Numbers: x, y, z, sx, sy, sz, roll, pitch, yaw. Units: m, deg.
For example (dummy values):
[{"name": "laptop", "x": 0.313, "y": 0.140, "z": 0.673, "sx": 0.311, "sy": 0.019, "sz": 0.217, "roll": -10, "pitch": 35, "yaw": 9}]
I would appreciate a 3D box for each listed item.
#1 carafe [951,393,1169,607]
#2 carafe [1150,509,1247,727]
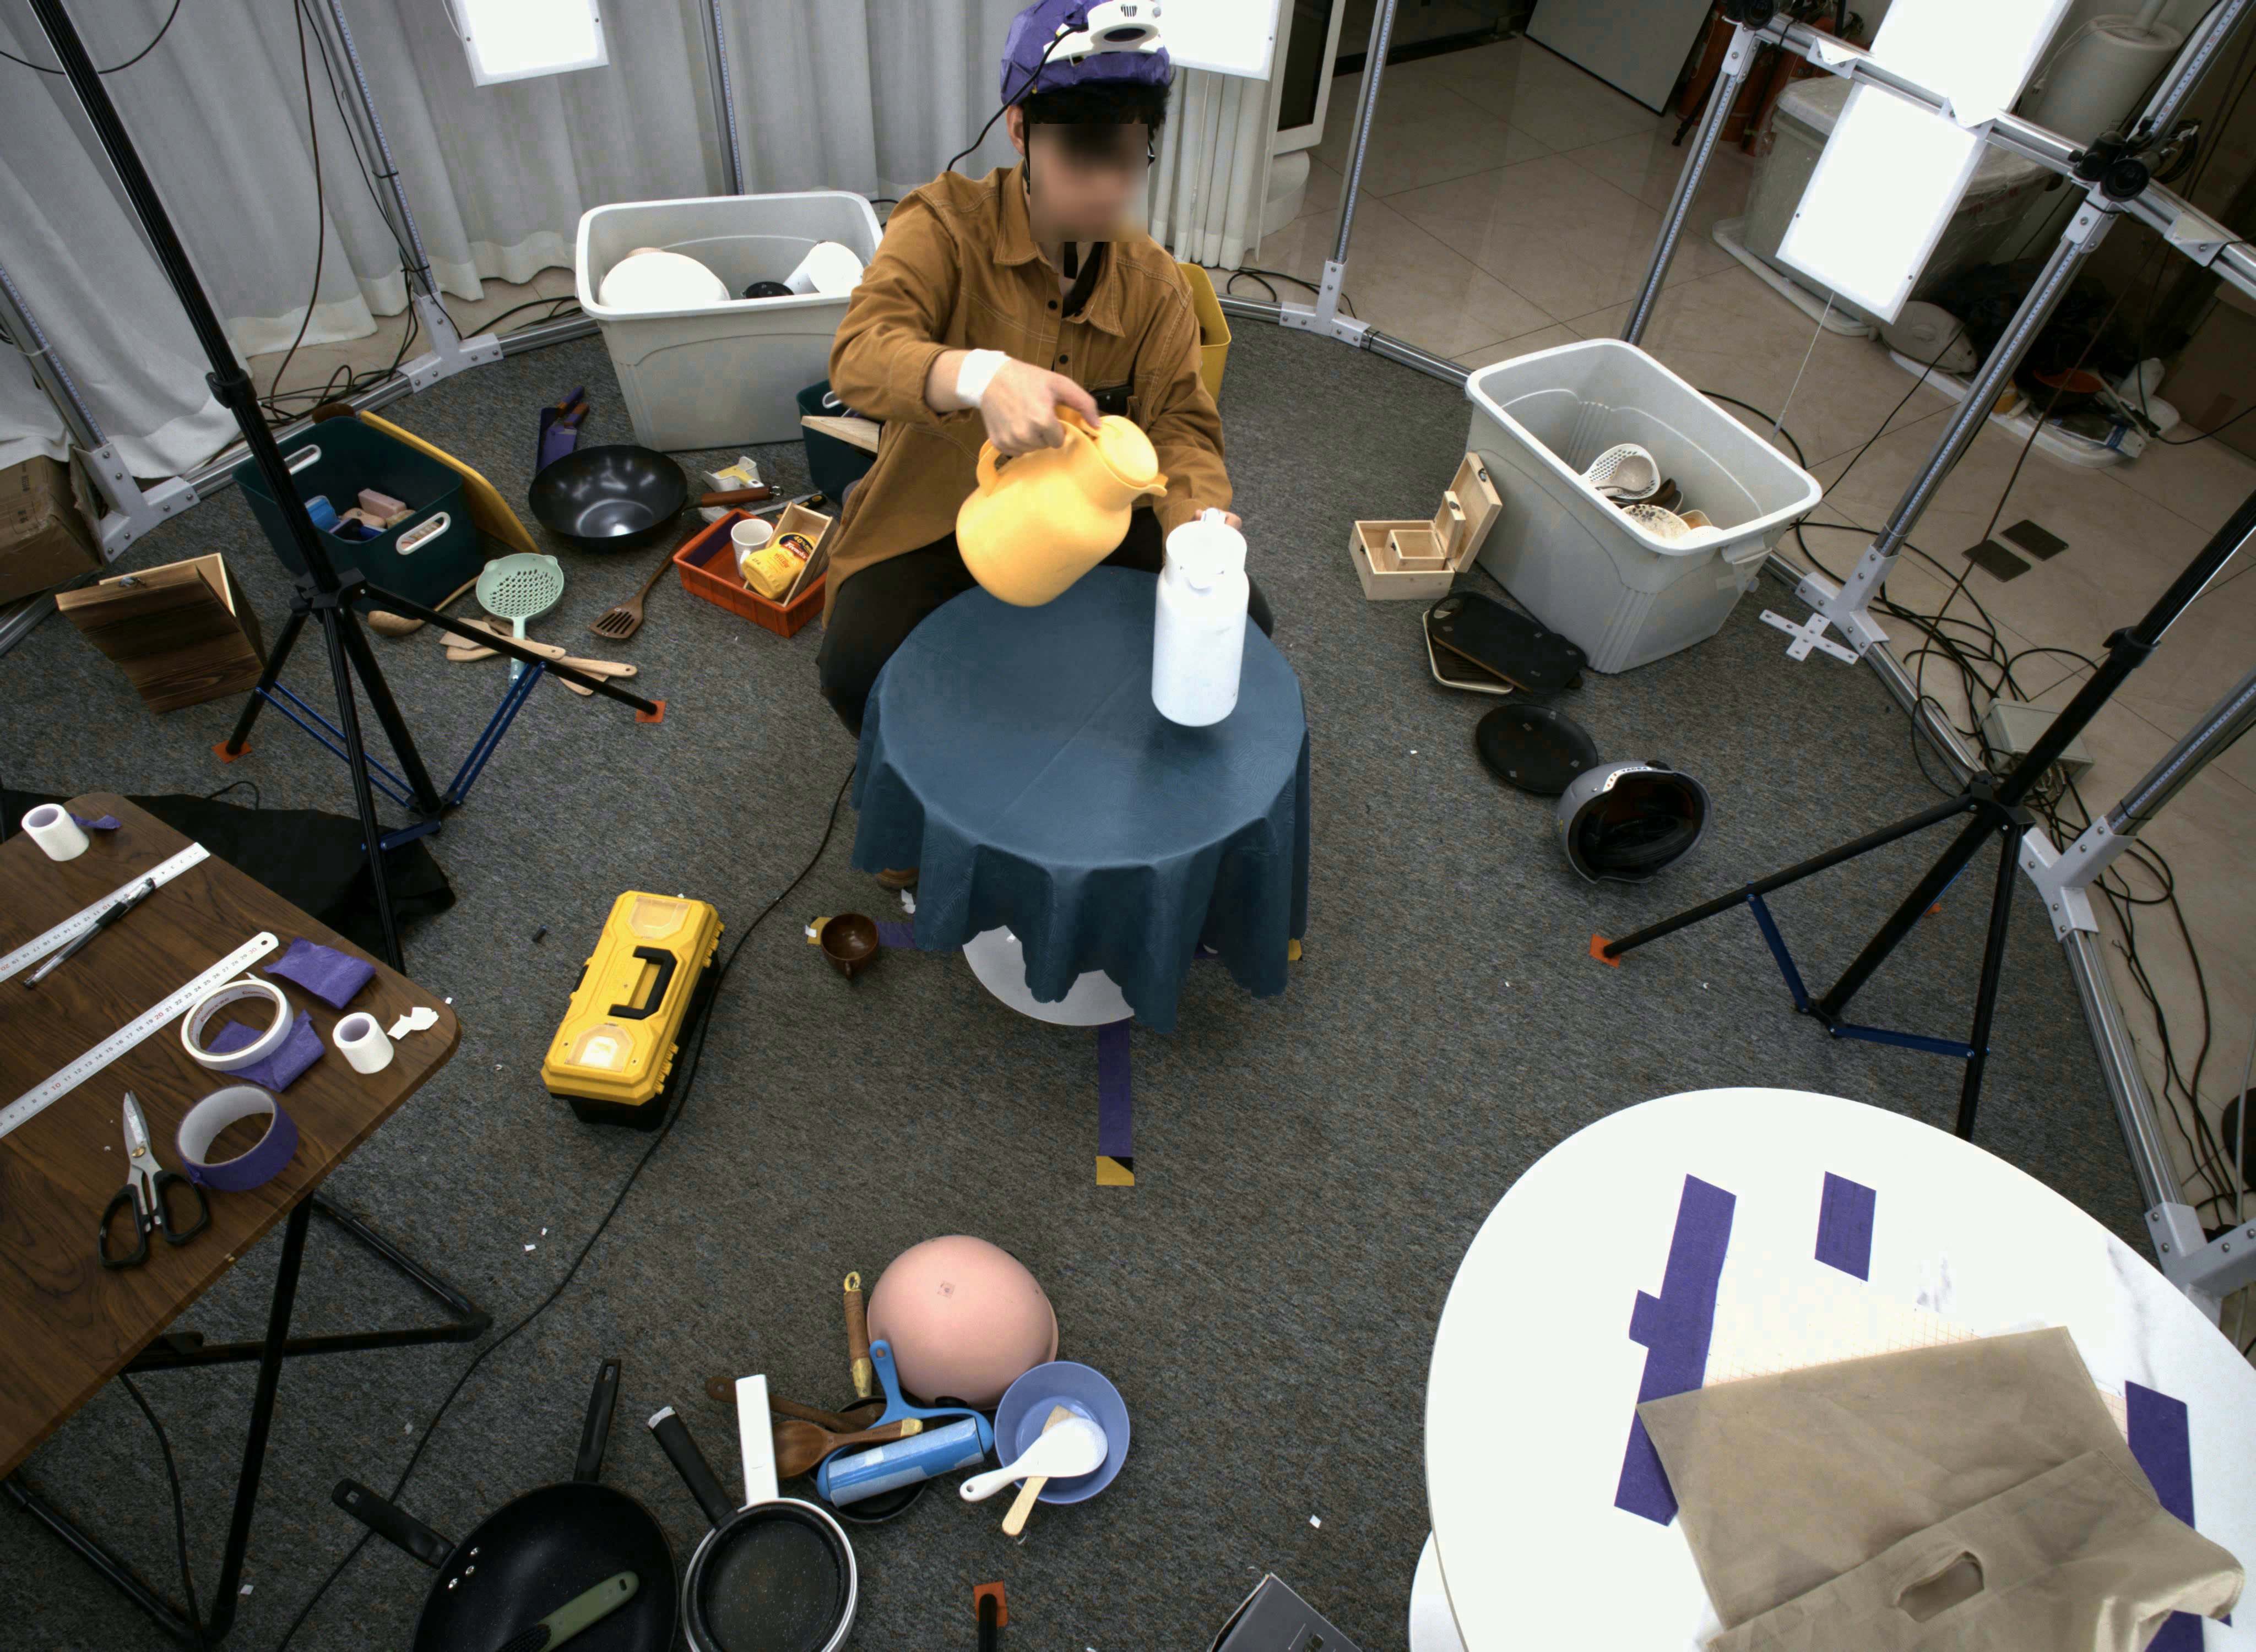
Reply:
[{"name": "carafe", "x": -0.092, "y": -0.389, "z": 1.507, "sx": 0.199, "sy": 0.258, "sz": 0.167, "roll": 31, "pitch": 46, "yaw": -32}, {"name": "carafe", "x": 0.091, "y": -0.271, "z": 1.664, "sx": 0.124, "sy": 0.262, "sz": 0.177, "roll": 6, "pitch": 50, "yaw": 7}]
